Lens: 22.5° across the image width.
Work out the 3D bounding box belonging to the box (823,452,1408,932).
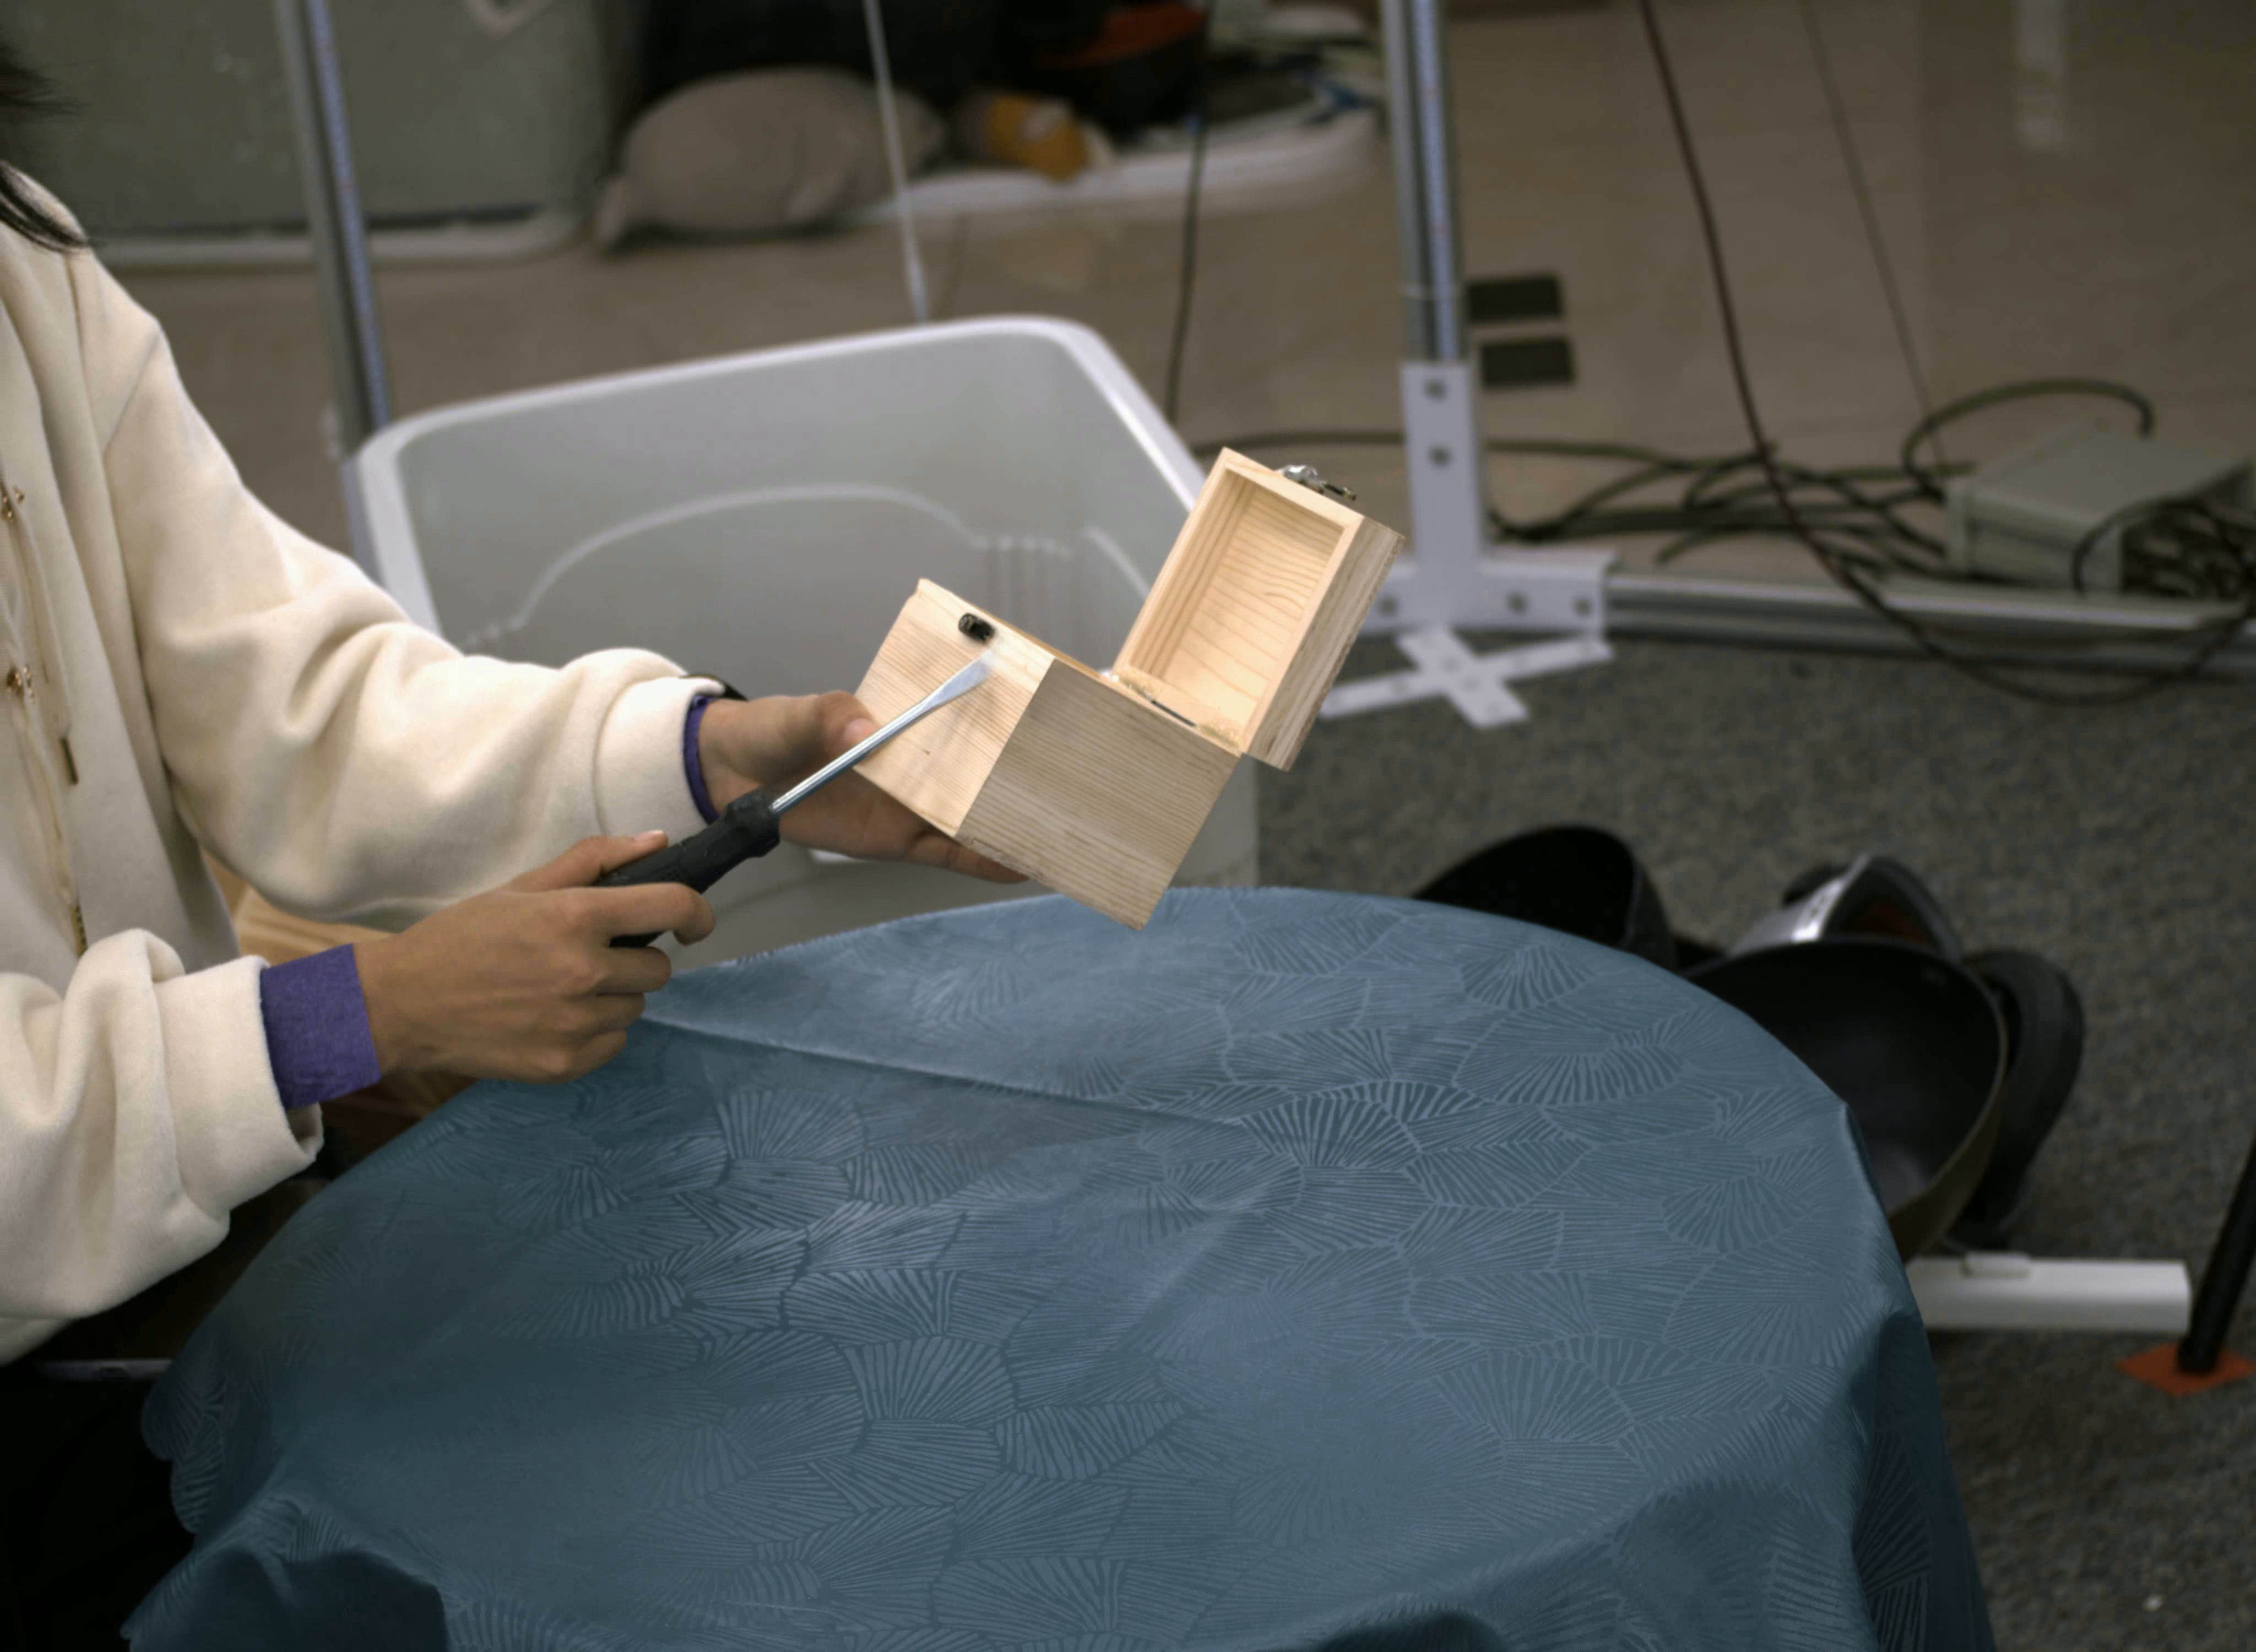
[{"bbox_3d":[-0.005,-0.070,2.157,0.135,0.185,0.101,28,4,-38],"label":"box"}]

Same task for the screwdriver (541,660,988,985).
[{"bbox_3d":[-0.131,-0.001,2.091,0.197,0.032,0.031,-32,30,-8],"label":"screwdriver"}]
